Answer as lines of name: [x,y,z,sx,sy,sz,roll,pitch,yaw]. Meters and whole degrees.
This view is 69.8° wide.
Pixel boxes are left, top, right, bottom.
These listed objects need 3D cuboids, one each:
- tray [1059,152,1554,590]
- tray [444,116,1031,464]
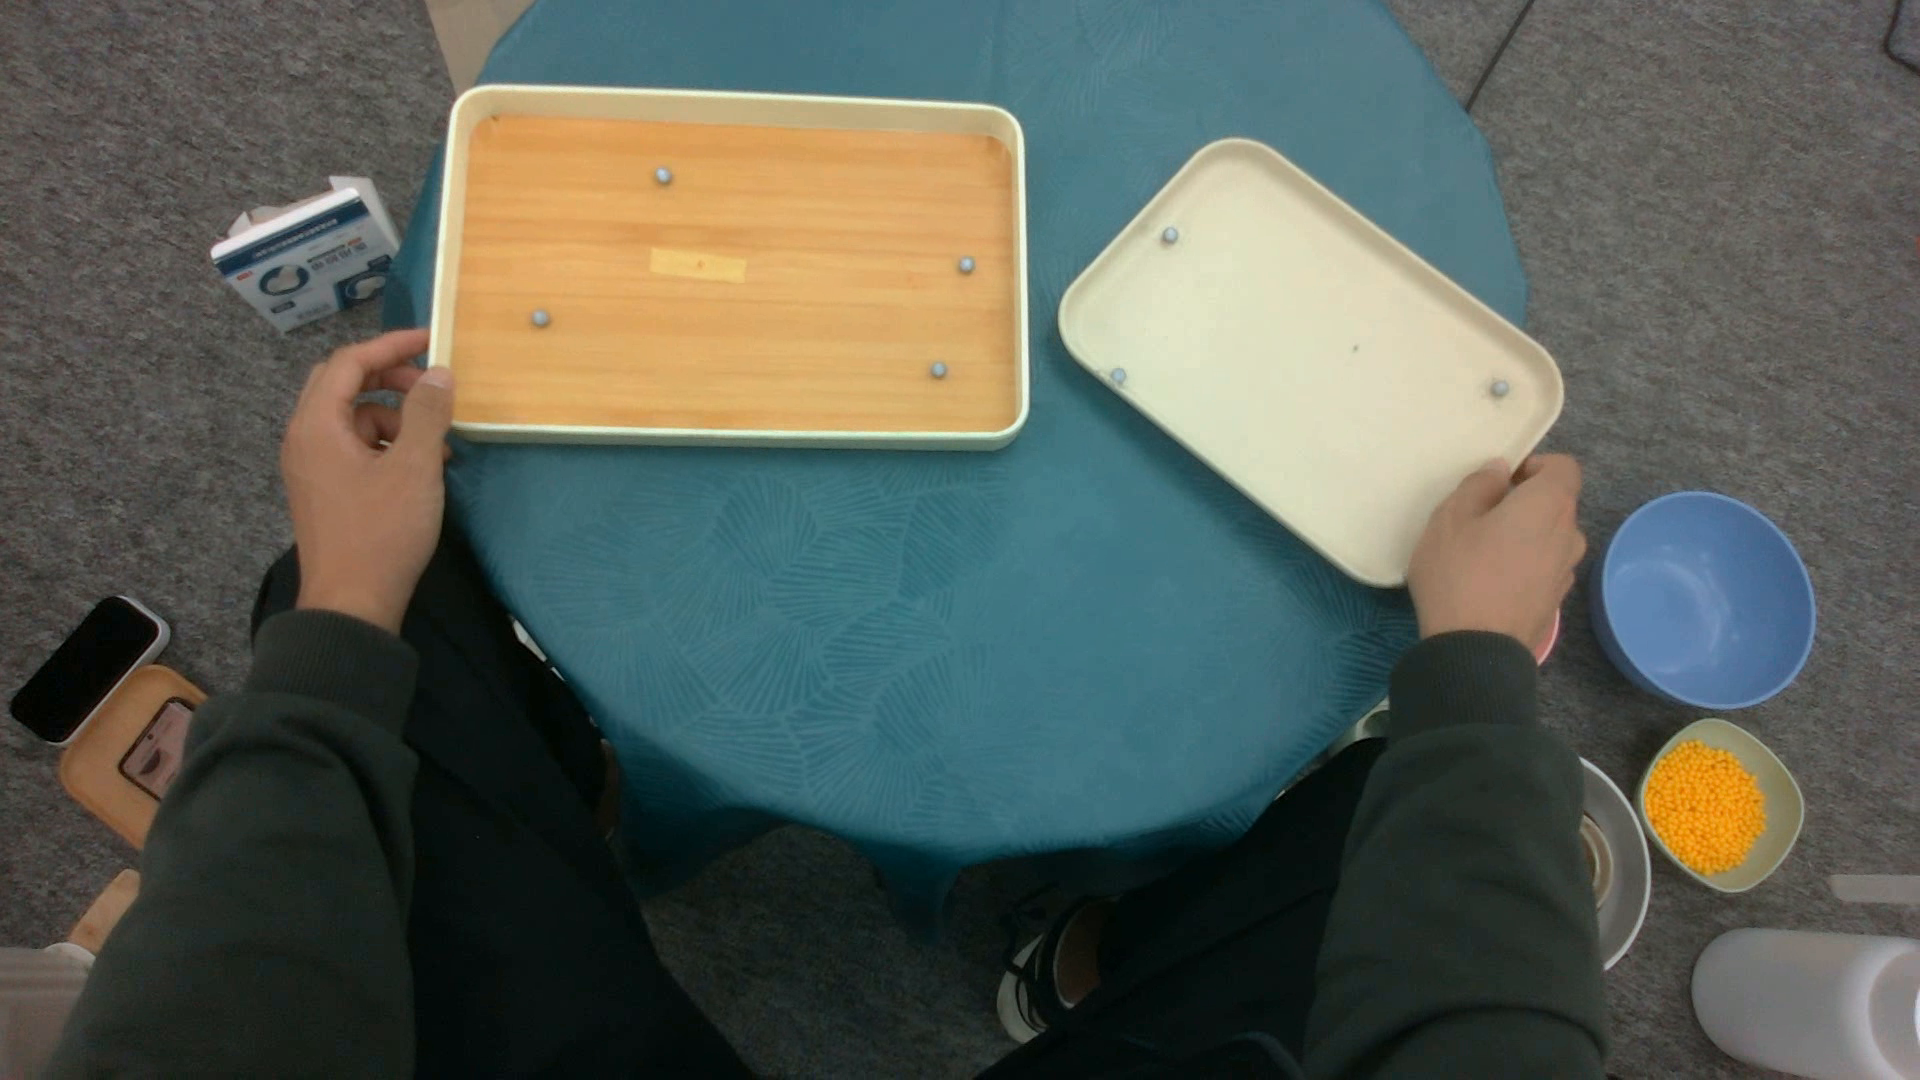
tray: [0.185,-0.095,0.745,0.240,0.017,0.172,39,74,11]
tray: [-0.115,-0.134,0.737,0.300,0.027,0.192,0,76,-4]
